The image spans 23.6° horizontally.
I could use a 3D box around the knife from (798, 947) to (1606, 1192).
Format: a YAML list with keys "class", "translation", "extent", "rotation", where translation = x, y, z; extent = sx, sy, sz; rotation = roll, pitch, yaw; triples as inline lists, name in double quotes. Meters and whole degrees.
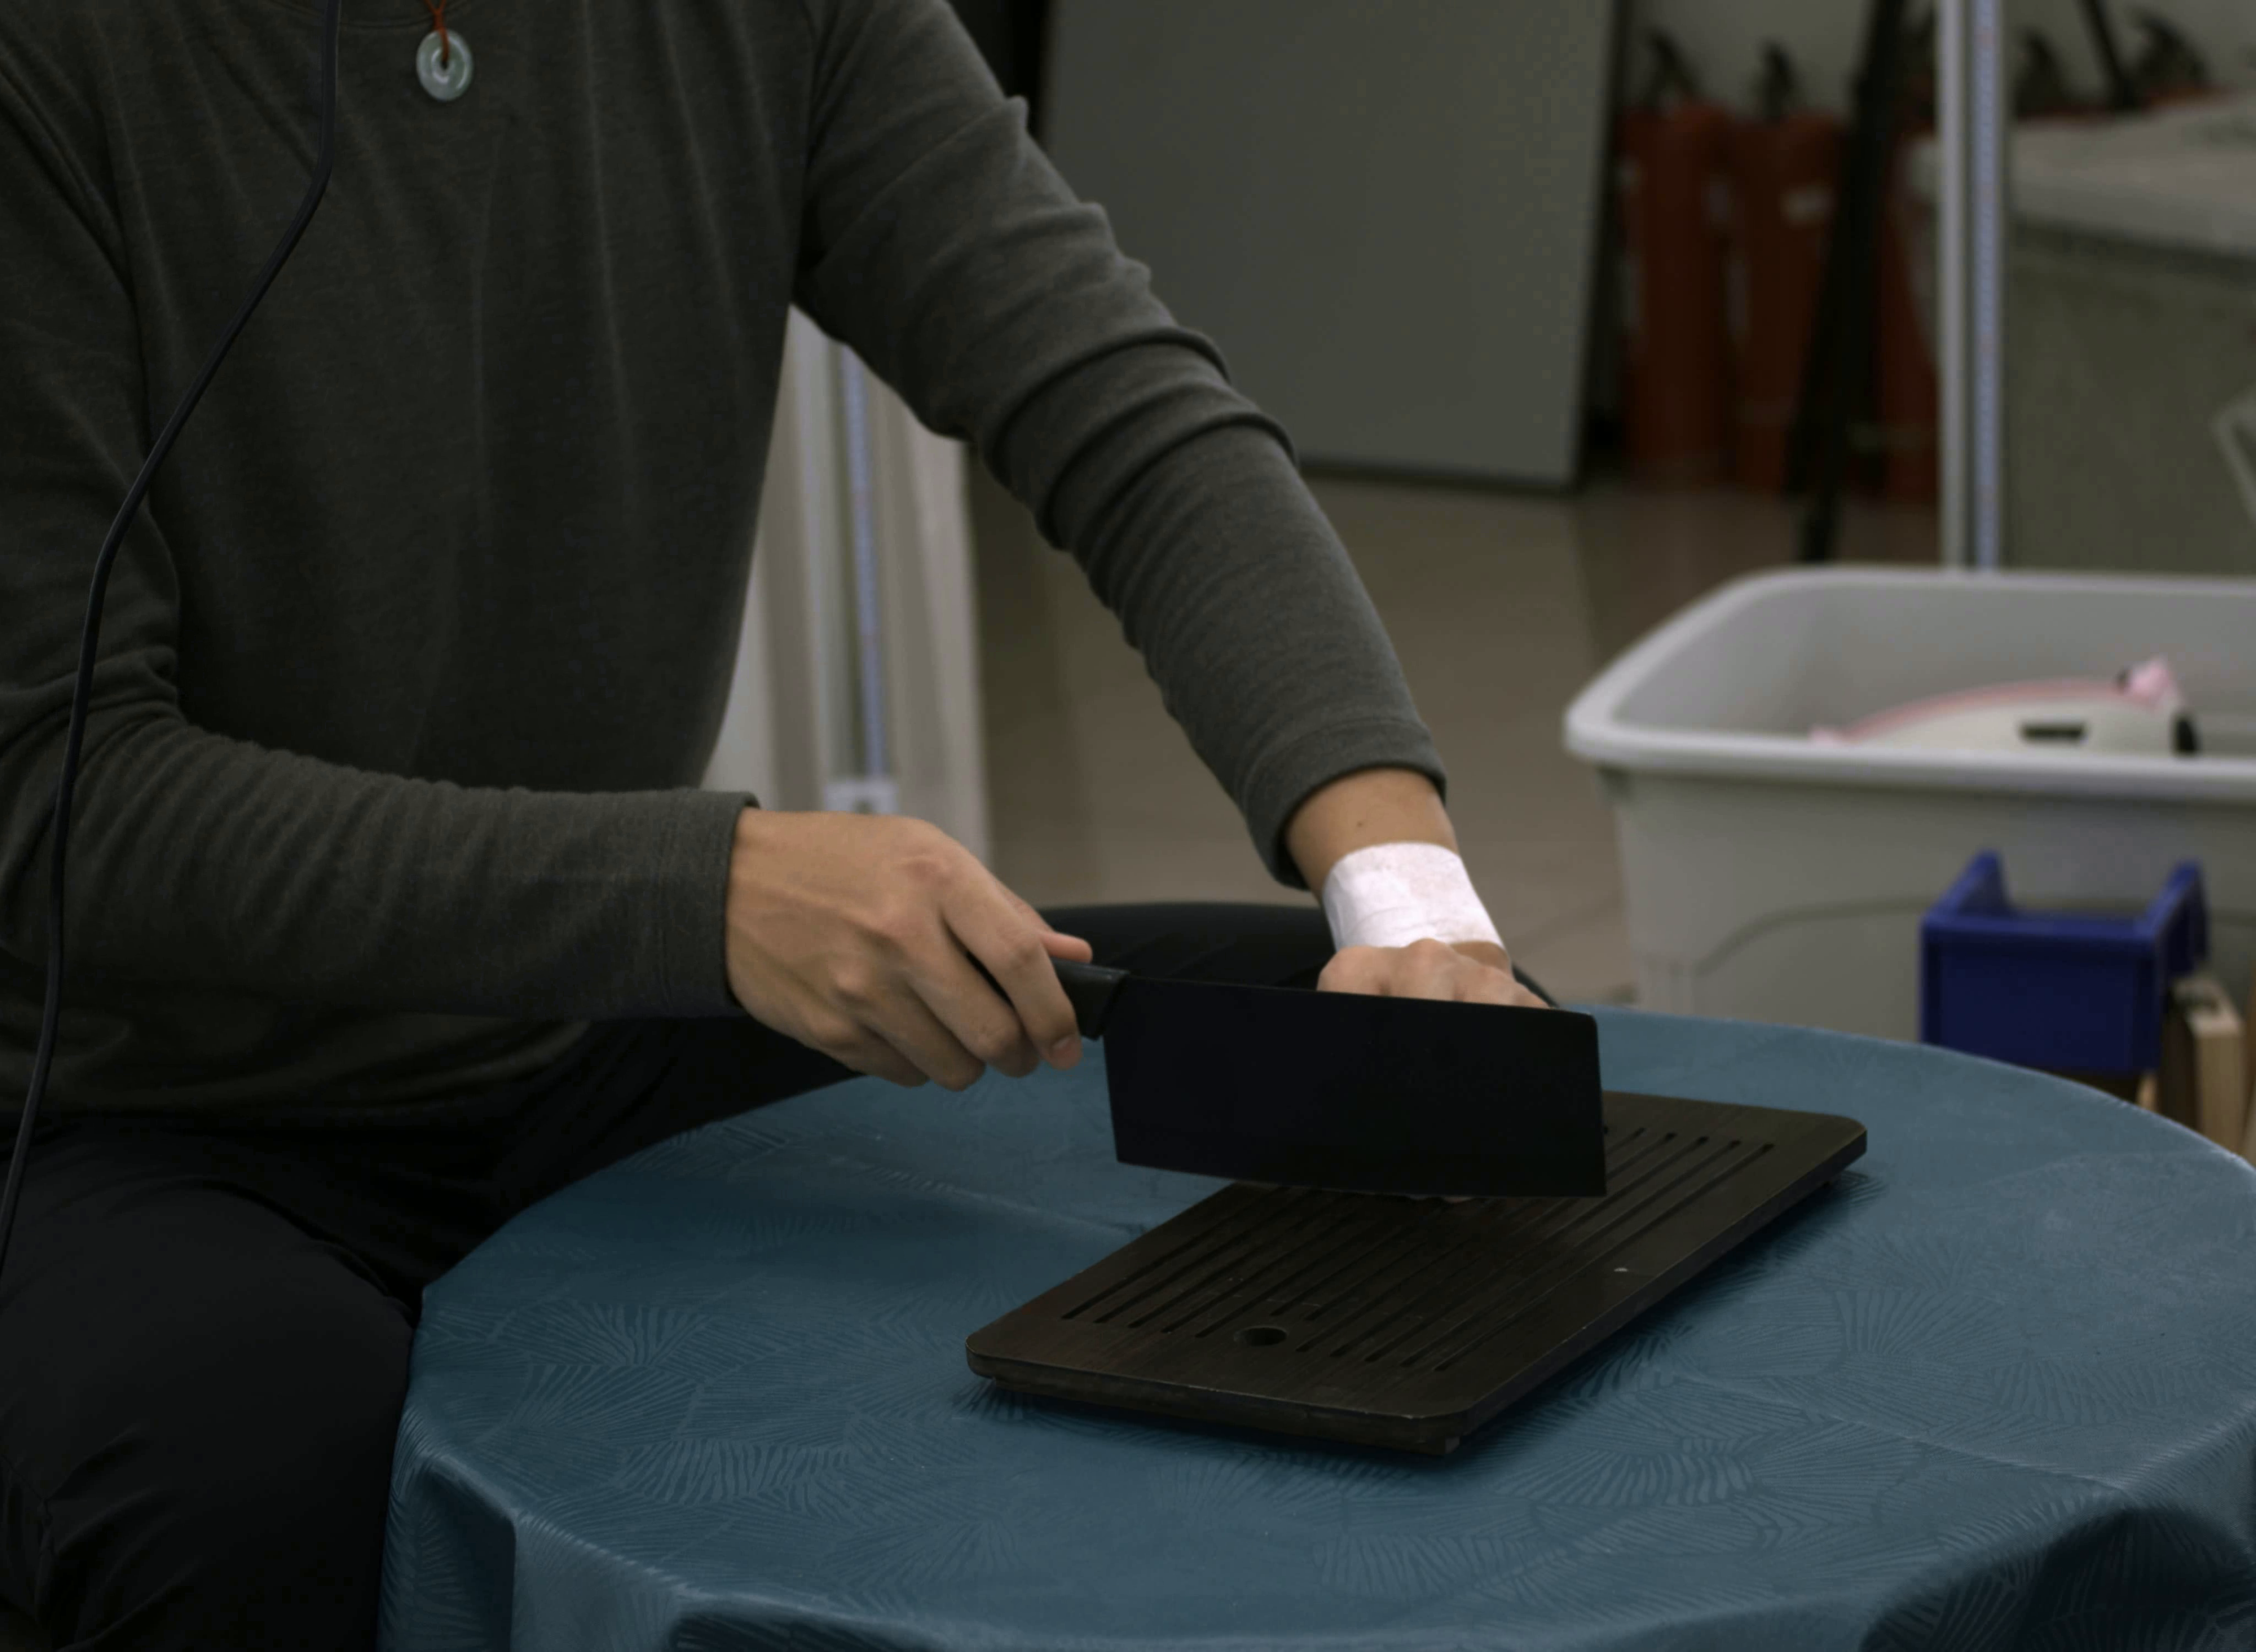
- class: "knife"
  translation: [0.019, 0.076, 1.722]
  extent: [0.304, 0.082, 0.020]
  rotation: [7, 16, 33]

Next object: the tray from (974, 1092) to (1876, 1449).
- class: "tray"
  translation: [0.098, 0.132, 1.662]
  extent: [0.171, 0.019, 0.301]
  rotation: [3, 15, 32]
